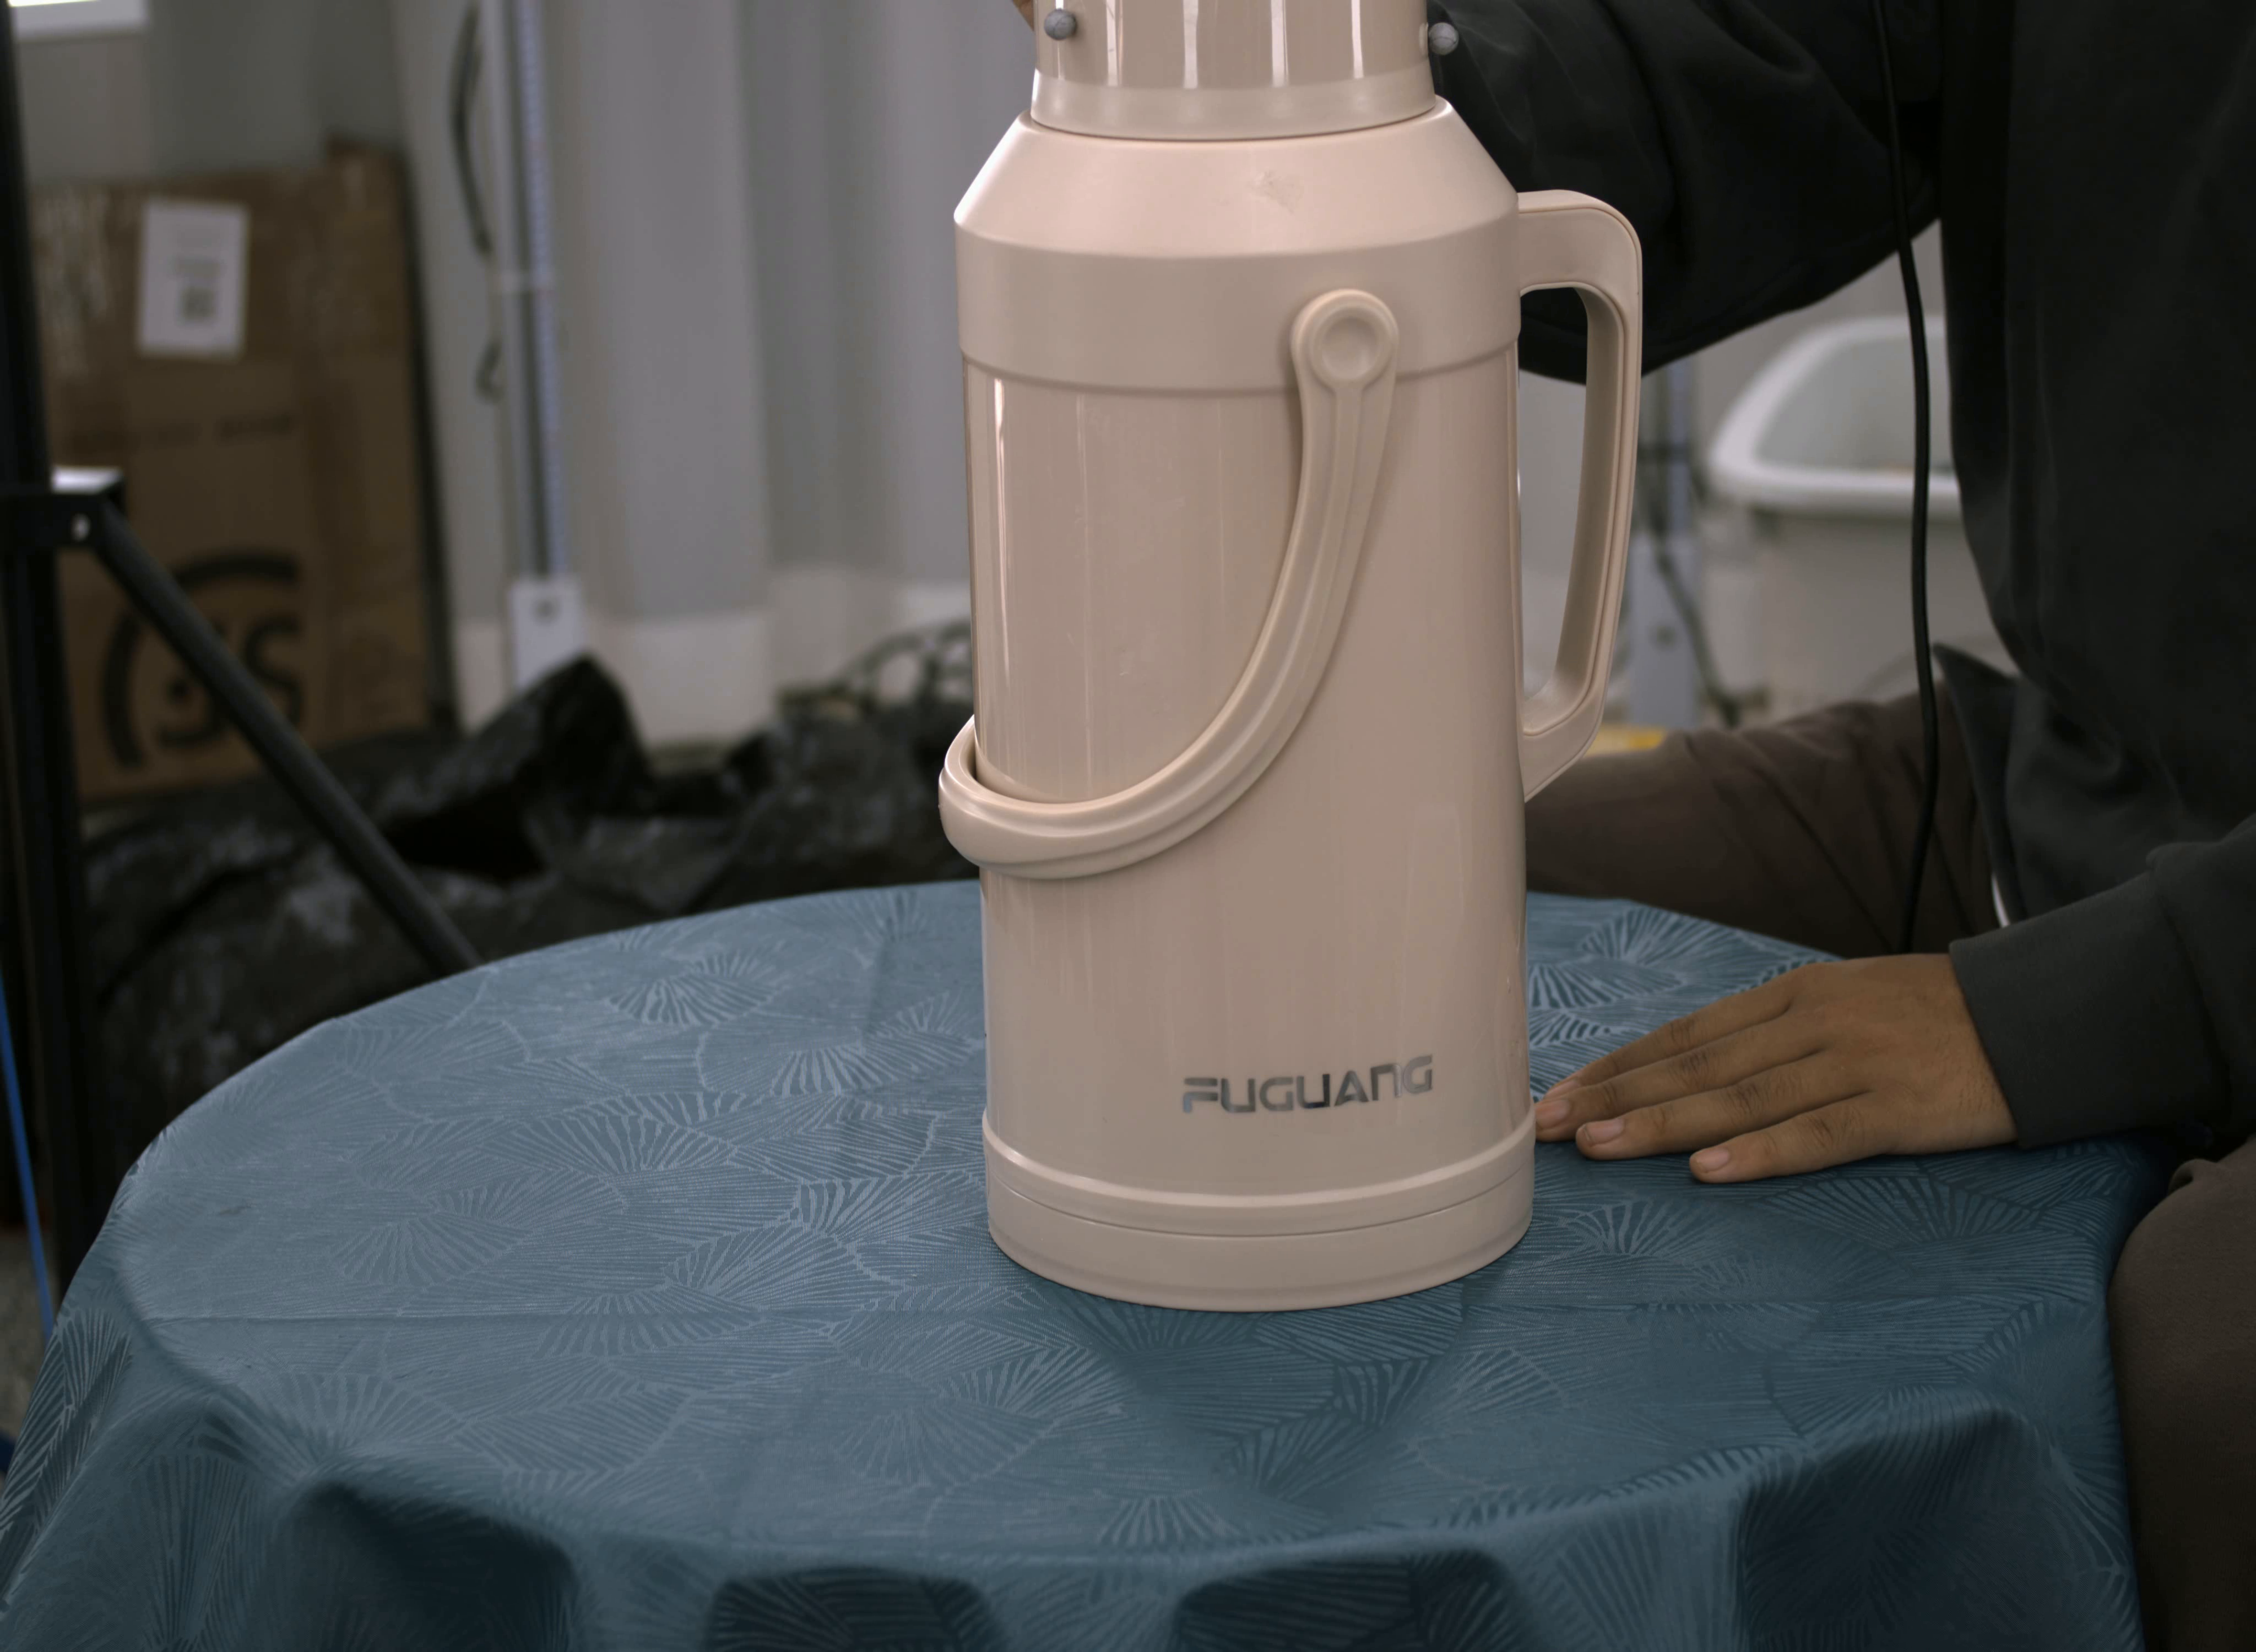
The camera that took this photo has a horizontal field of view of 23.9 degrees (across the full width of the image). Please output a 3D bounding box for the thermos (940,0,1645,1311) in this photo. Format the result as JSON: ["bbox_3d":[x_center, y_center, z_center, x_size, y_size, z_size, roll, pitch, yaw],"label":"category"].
[{"bbox_3d":[0.047,-0.080,1.488,0.203,0.406,0.178,-7,15,-17],"label":"thermos"}]
